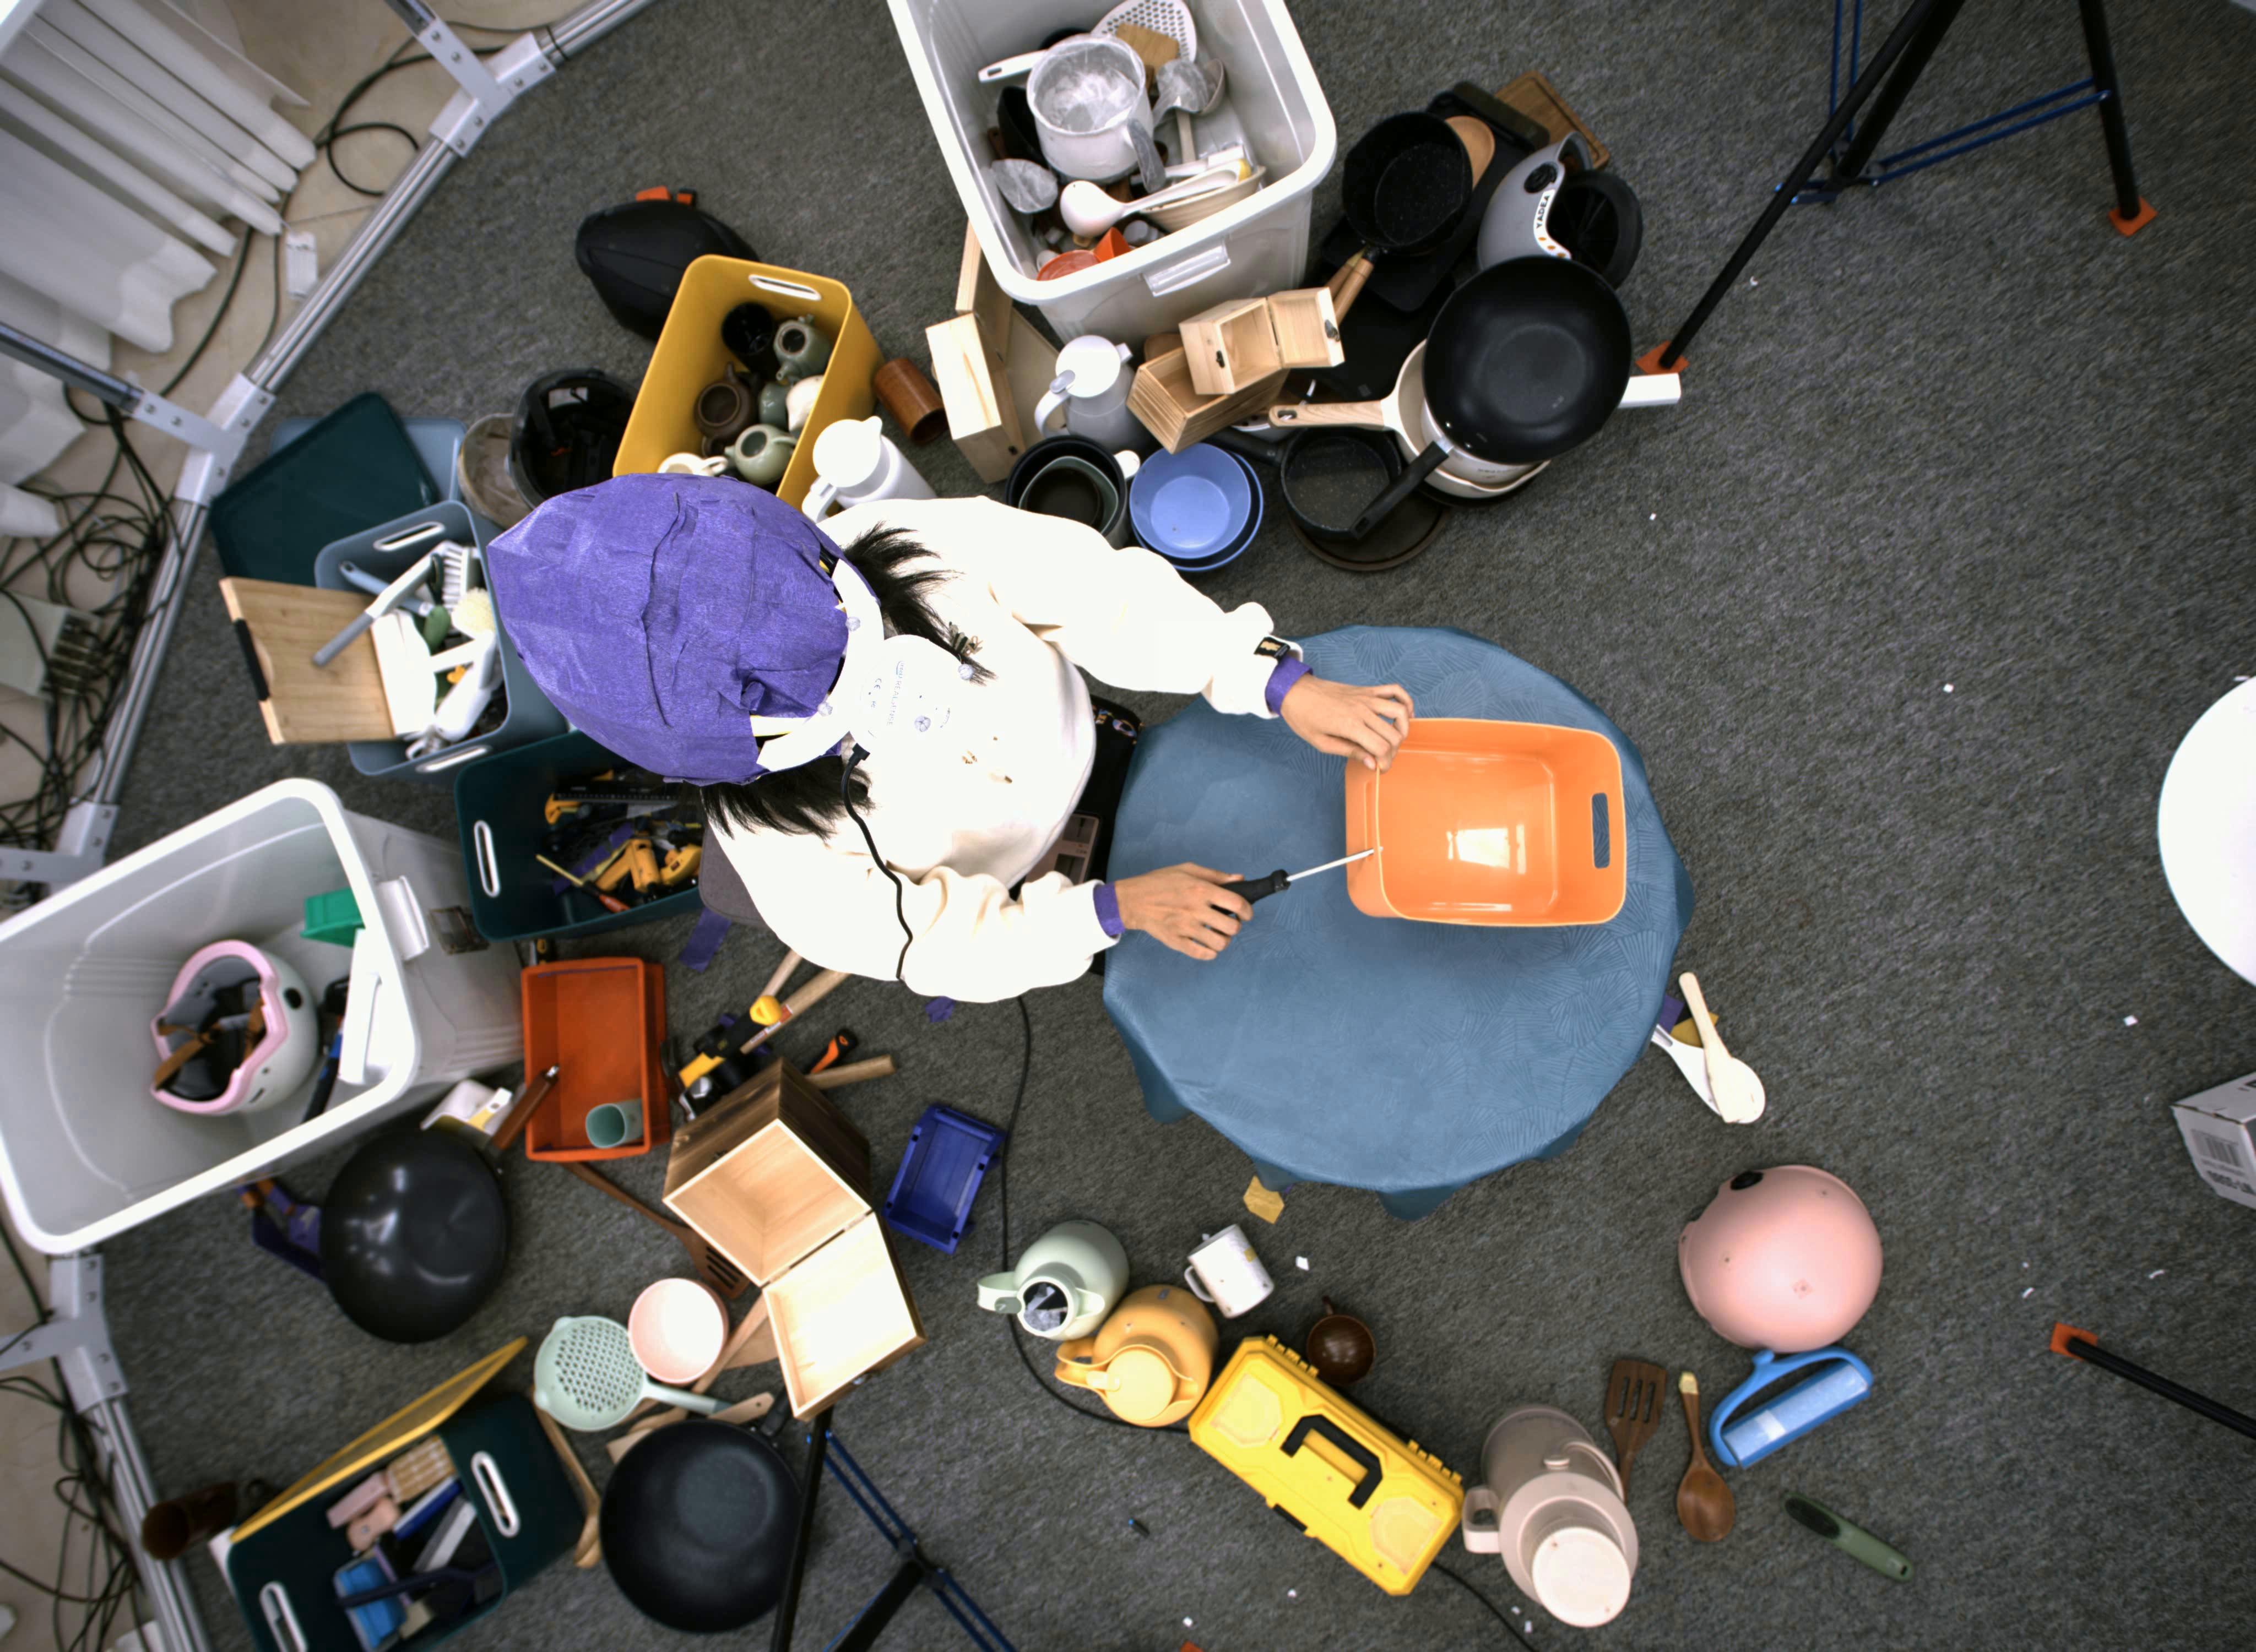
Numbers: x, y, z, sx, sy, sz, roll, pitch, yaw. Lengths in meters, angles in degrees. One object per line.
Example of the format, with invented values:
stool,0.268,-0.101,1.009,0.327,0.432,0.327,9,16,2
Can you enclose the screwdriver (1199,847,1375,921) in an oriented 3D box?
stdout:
screwdriver,0.157,0.055,1.340,0.199,0.031,0.031,-18,82,25

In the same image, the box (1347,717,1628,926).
box,0.346,-0.001,1.351,0.272,0.103,0.198,1,87,-17
